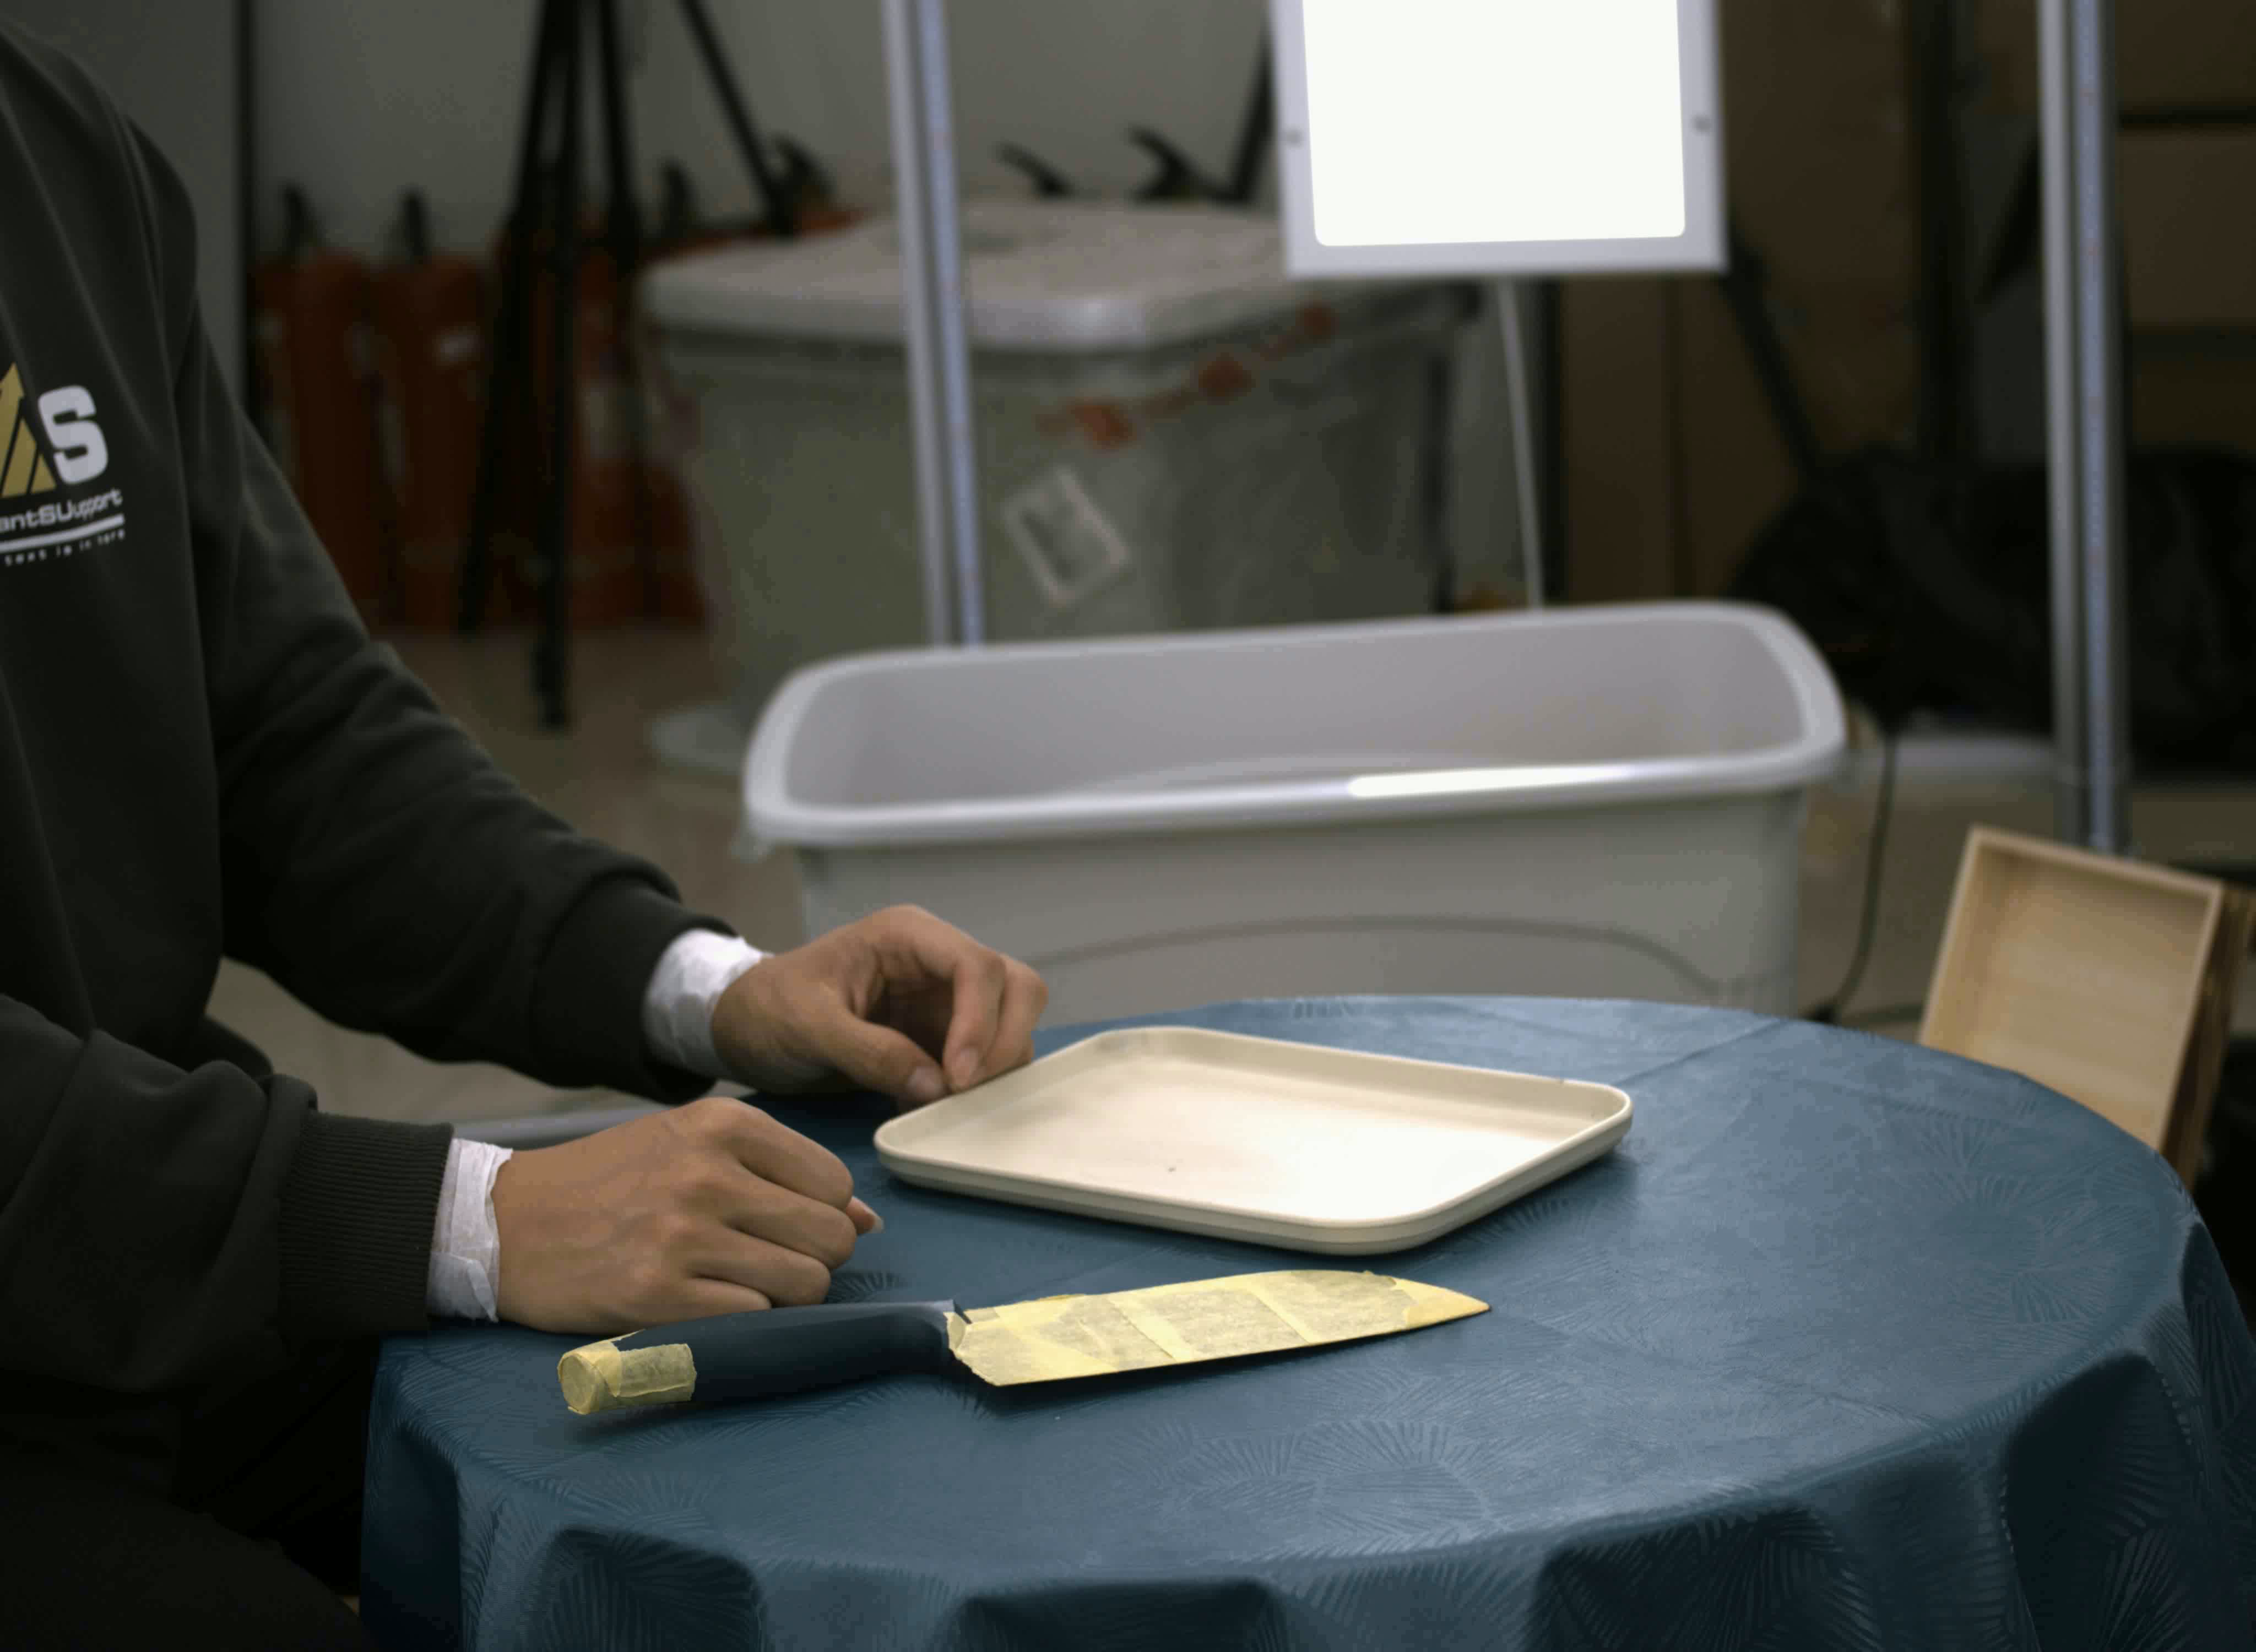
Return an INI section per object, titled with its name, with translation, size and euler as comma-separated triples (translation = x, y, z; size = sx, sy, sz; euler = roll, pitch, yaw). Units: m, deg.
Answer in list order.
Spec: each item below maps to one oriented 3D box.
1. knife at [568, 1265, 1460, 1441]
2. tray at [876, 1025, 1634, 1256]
[knife]
translation = -0.032, 0.164, 1.732
size = 0.285, 0.027, 0.082
euler = -7, 12, -13
[tray]
translation = 0.044, 0.109, 1.921
size = 0.245, 0.017, 0.167
euler = 6, 18, 40
